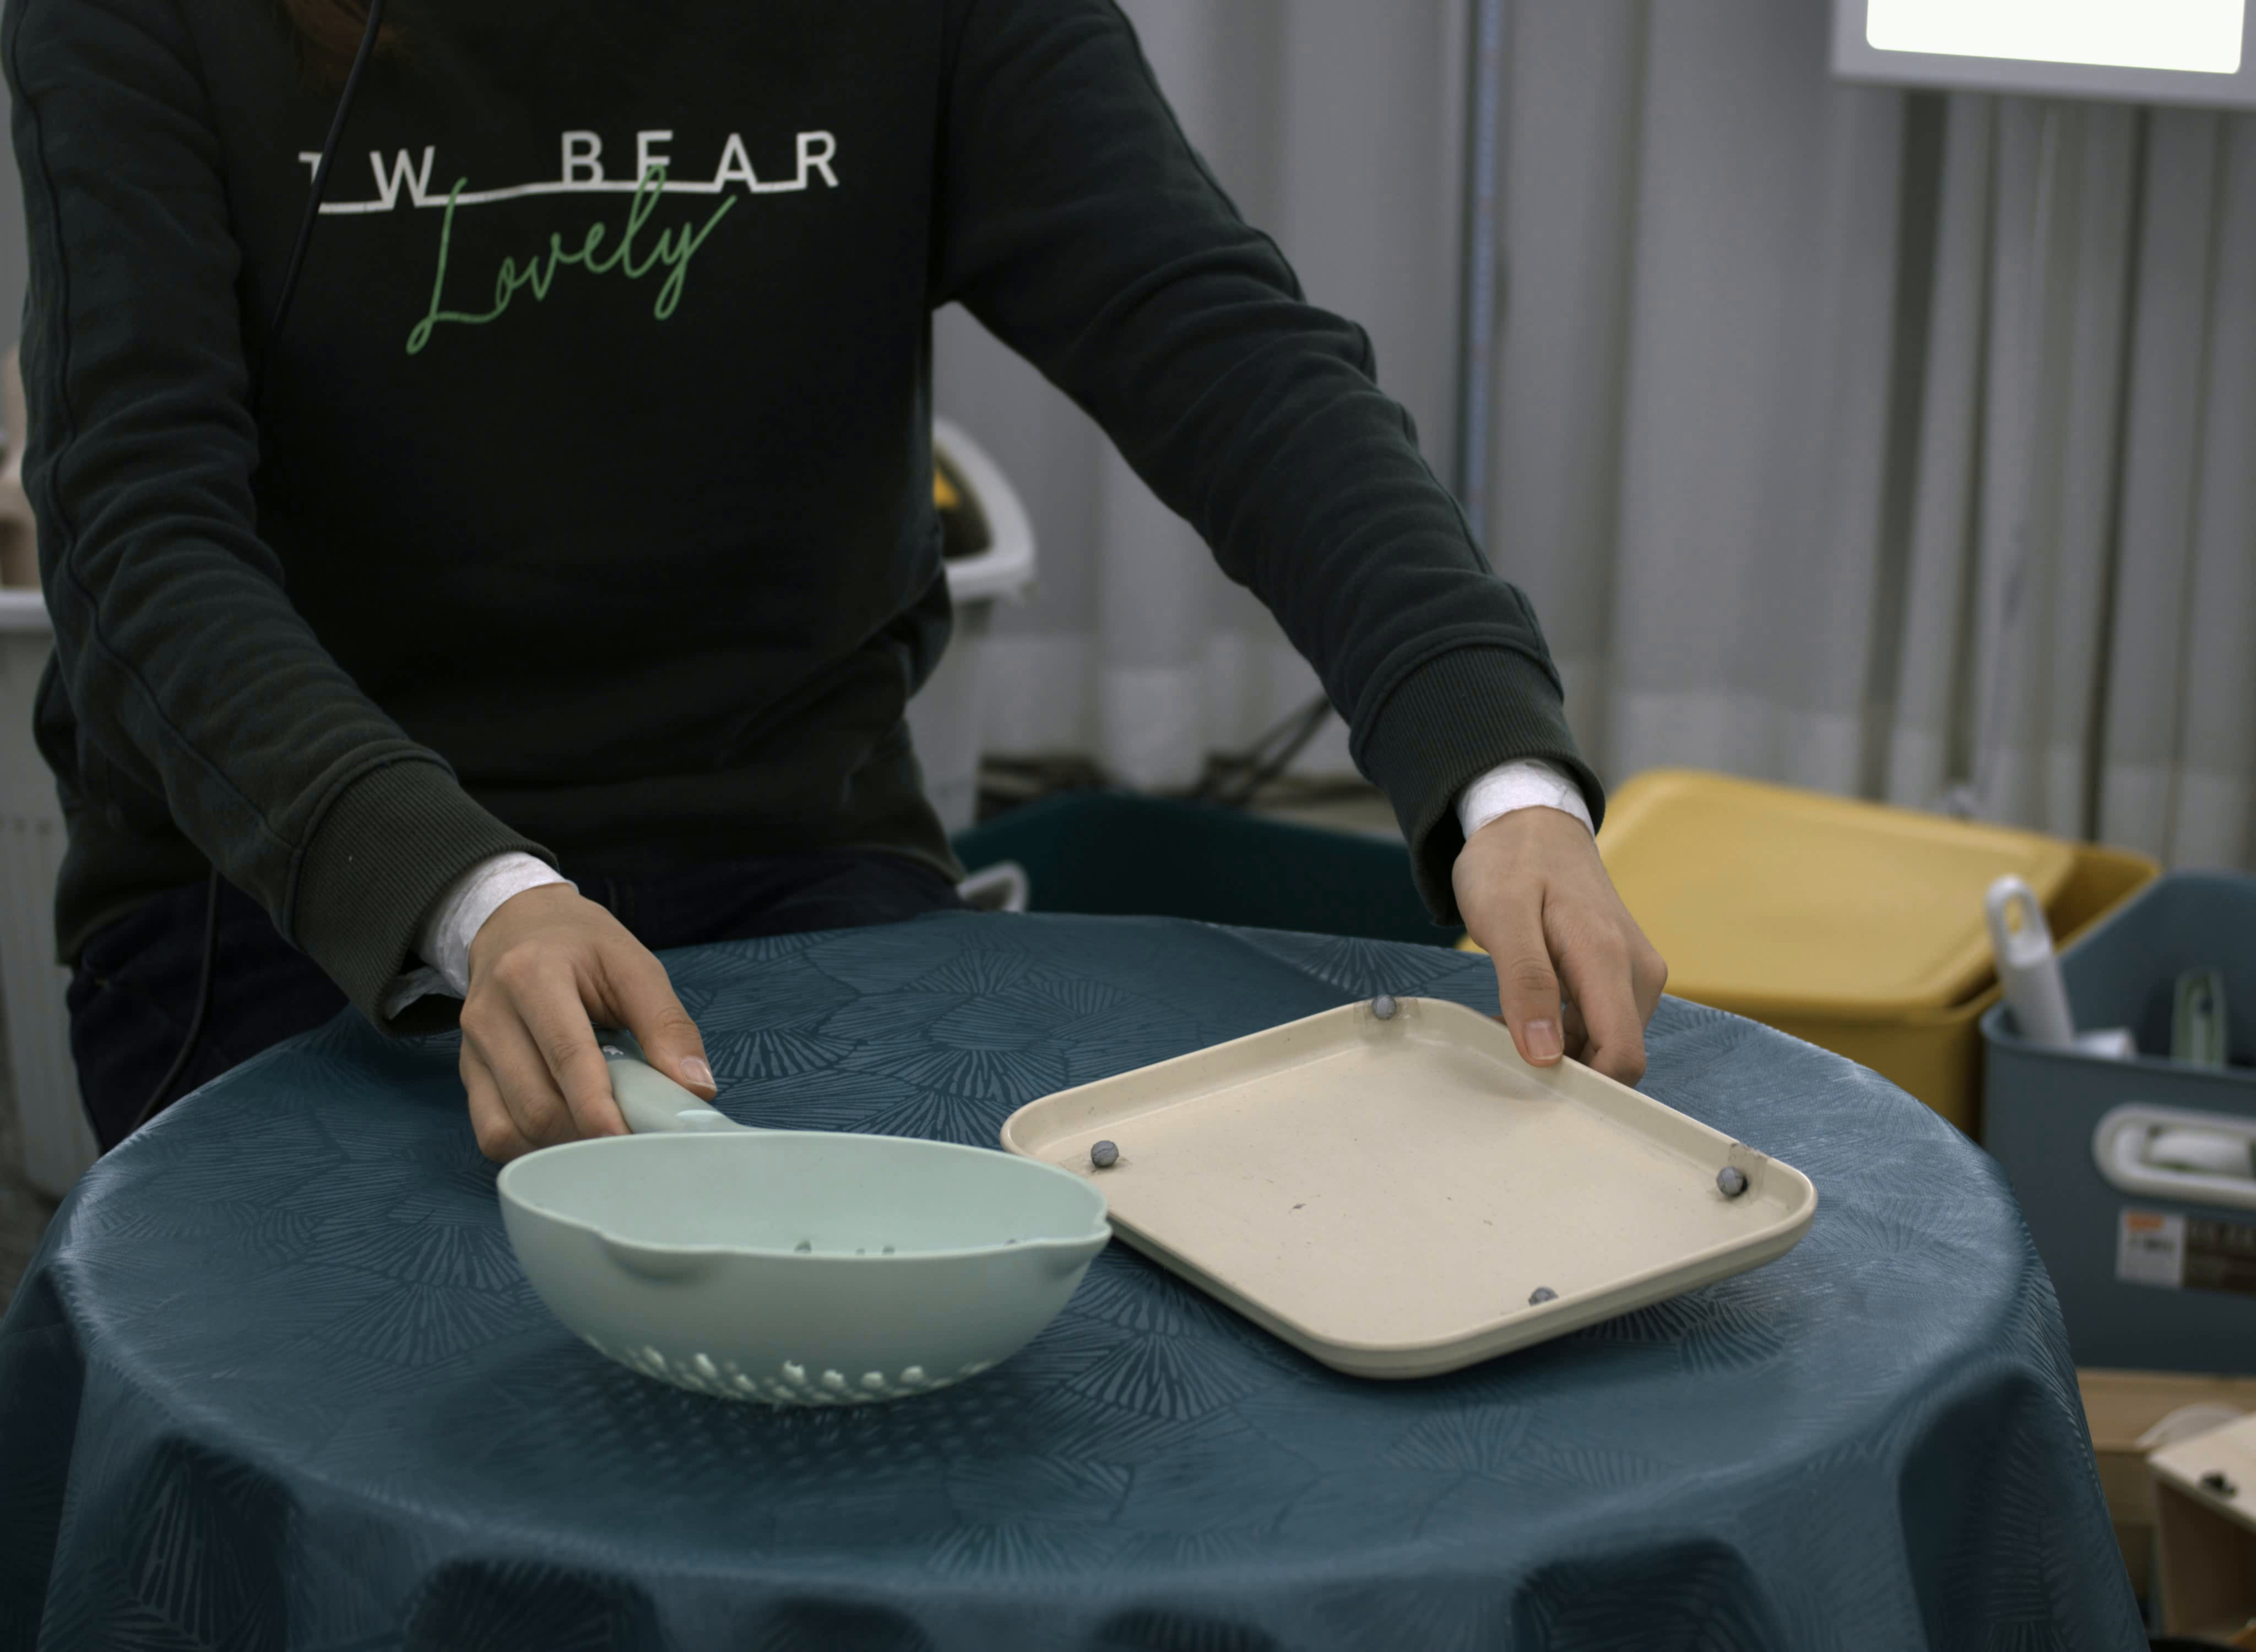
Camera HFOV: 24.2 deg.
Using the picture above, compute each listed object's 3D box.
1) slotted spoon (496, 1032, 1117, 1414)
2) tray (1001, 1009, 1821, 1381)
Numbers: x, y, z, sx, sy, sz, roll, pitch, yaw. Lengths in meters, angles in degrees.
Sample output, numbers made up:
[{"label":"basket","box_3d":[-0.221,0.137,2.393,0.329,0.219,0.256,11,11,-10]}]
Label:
[{"label":"slotted spoon","box_3d":[-0.122,0.100,1.542,0.170,0.076,0.355,1,16,-20]},{"label":"tray","box_3d":[0.082,0.109,1.583,0.172,0.017,0.236,-15,21,-27]}]
